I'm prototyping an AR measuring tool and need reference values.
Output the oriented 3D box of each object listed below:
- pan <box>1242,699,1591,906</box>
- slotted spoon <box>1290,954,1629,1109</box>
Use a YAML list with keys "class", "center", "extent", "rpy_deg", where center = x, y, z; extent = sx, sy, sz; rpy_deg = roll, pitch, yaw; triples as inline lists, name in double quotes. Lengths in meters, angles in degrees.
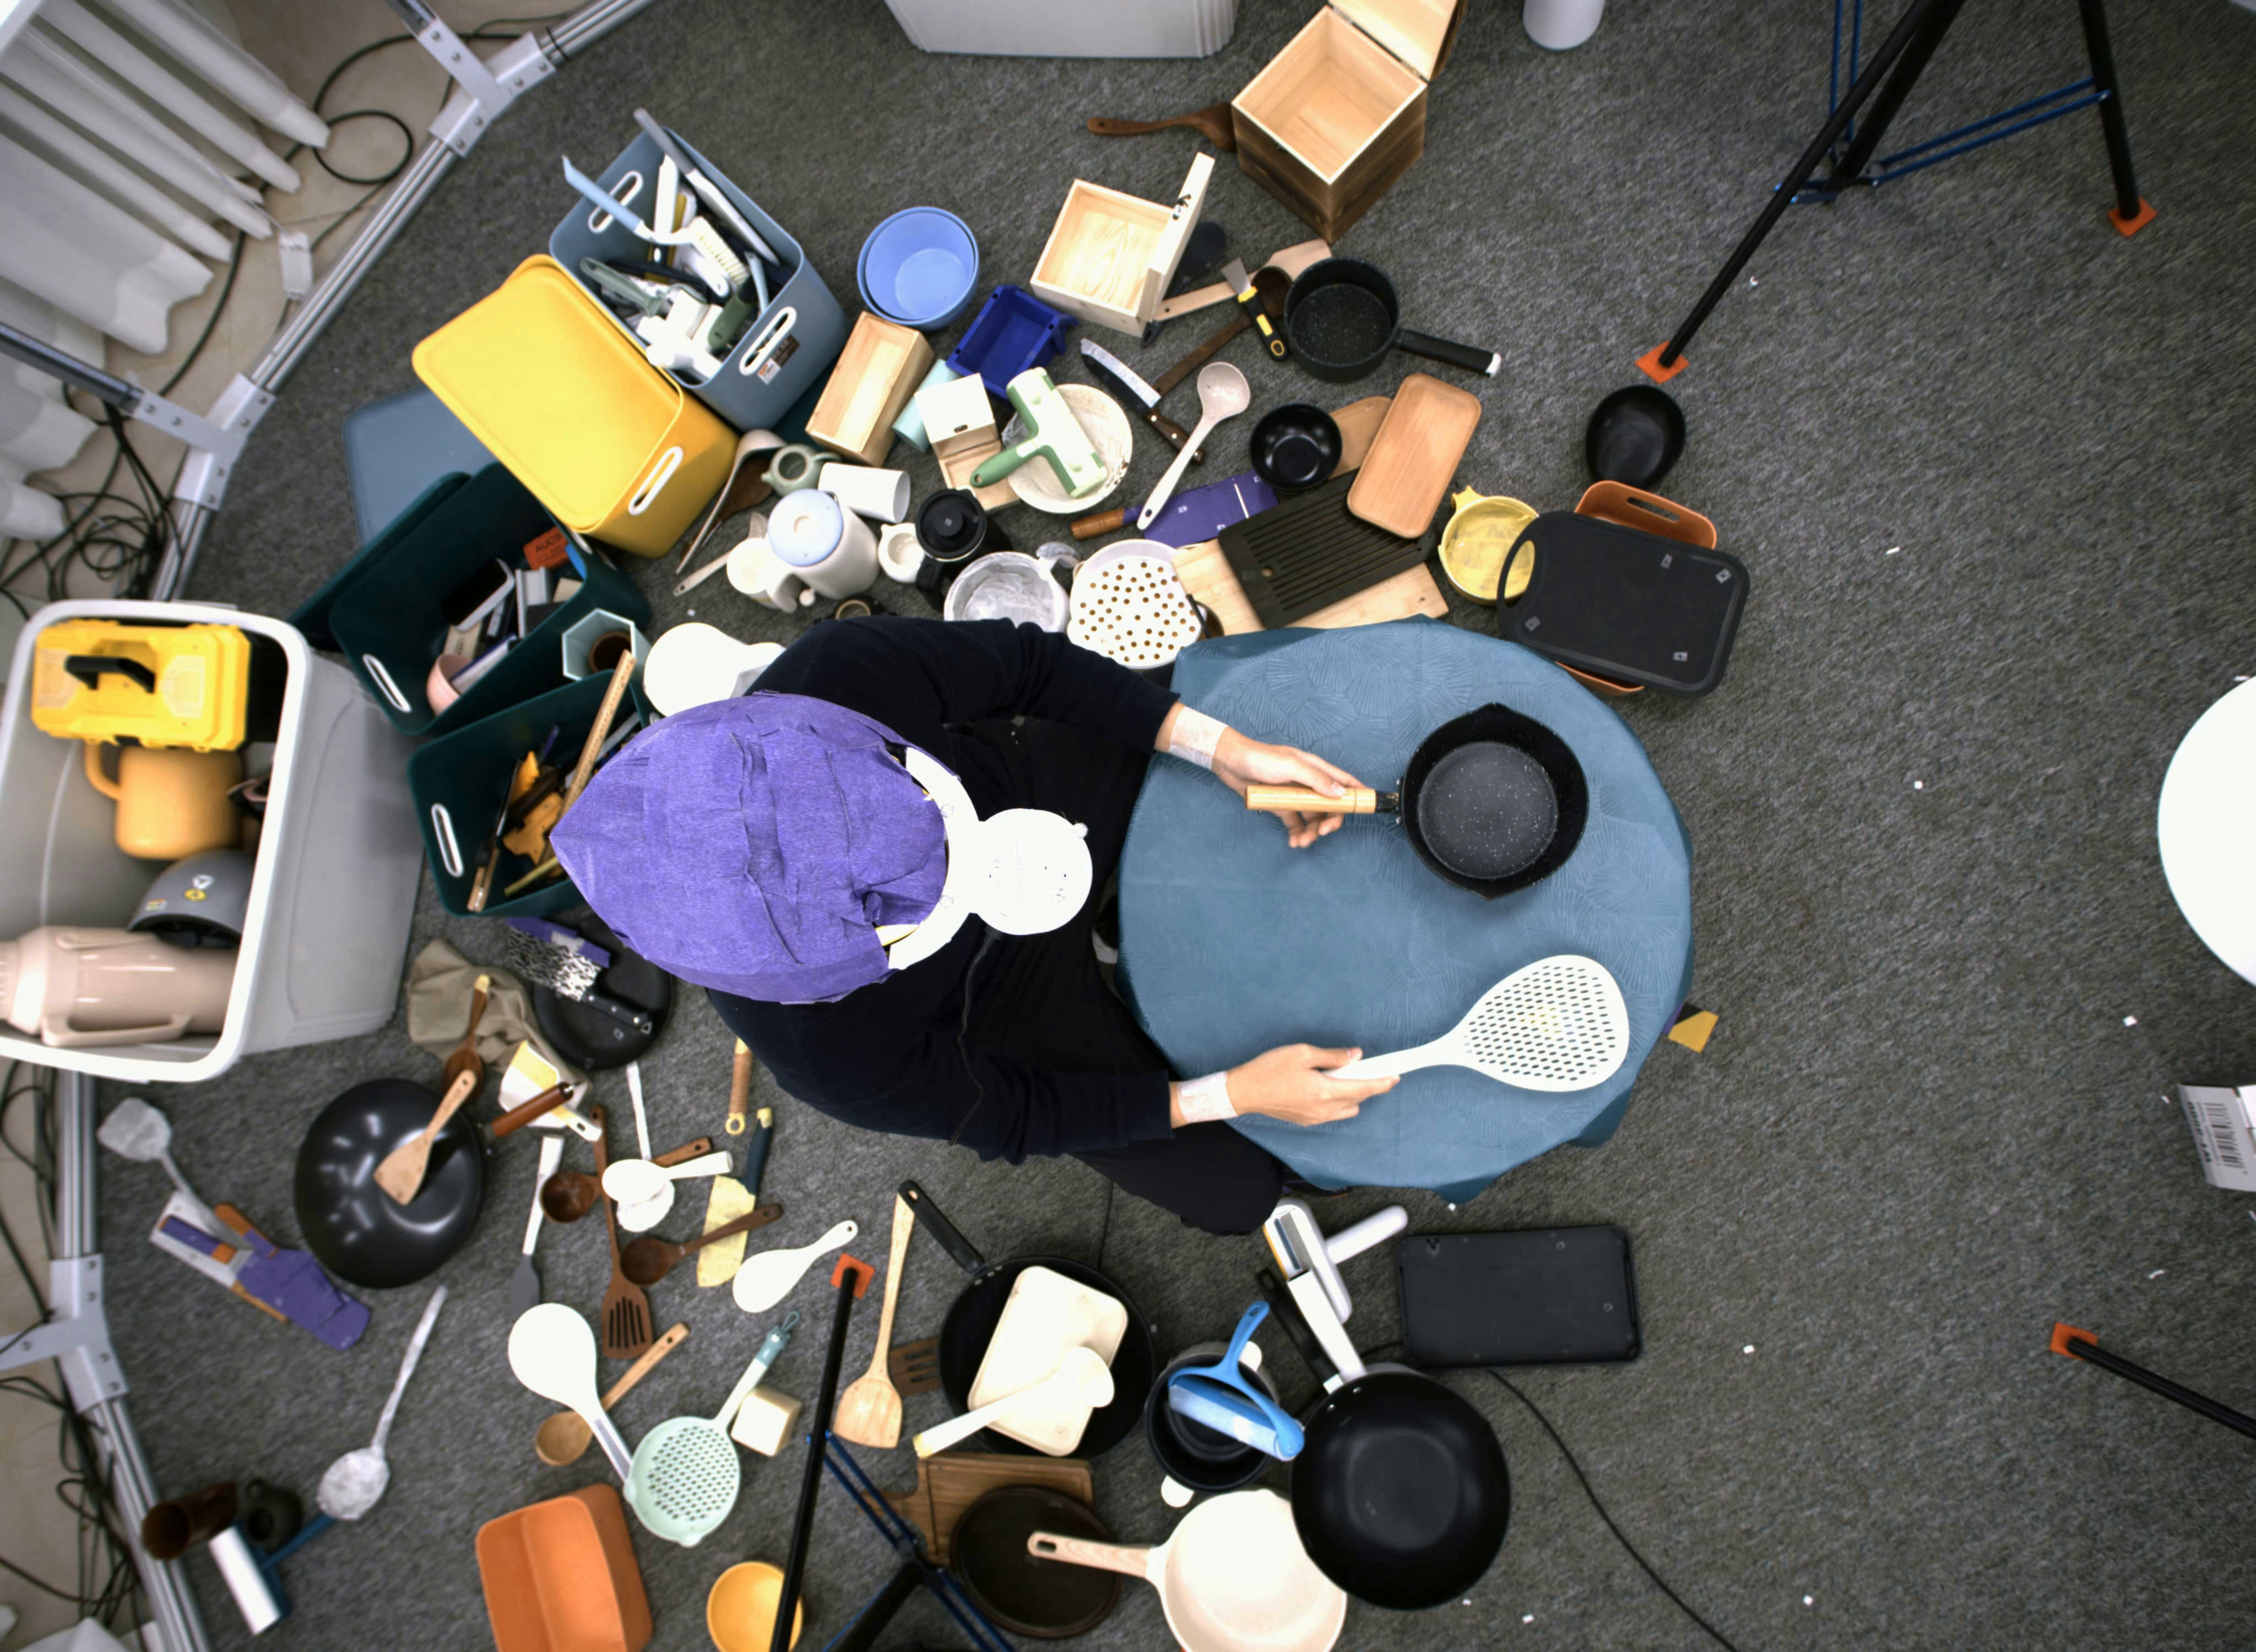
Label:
- class: "pan"
  center: [0.290, -0.023, 1.407]
  extent: [0.344, 0.108, 0.207]
  rpy_deg: [0, 87, 9]
- class: "slotted spoon"
  center: [0.333, 0.226, 1.400]
  extent: [0.348, 0.050, 0.136]
  rpy_deg: [-16, 90, -1]
